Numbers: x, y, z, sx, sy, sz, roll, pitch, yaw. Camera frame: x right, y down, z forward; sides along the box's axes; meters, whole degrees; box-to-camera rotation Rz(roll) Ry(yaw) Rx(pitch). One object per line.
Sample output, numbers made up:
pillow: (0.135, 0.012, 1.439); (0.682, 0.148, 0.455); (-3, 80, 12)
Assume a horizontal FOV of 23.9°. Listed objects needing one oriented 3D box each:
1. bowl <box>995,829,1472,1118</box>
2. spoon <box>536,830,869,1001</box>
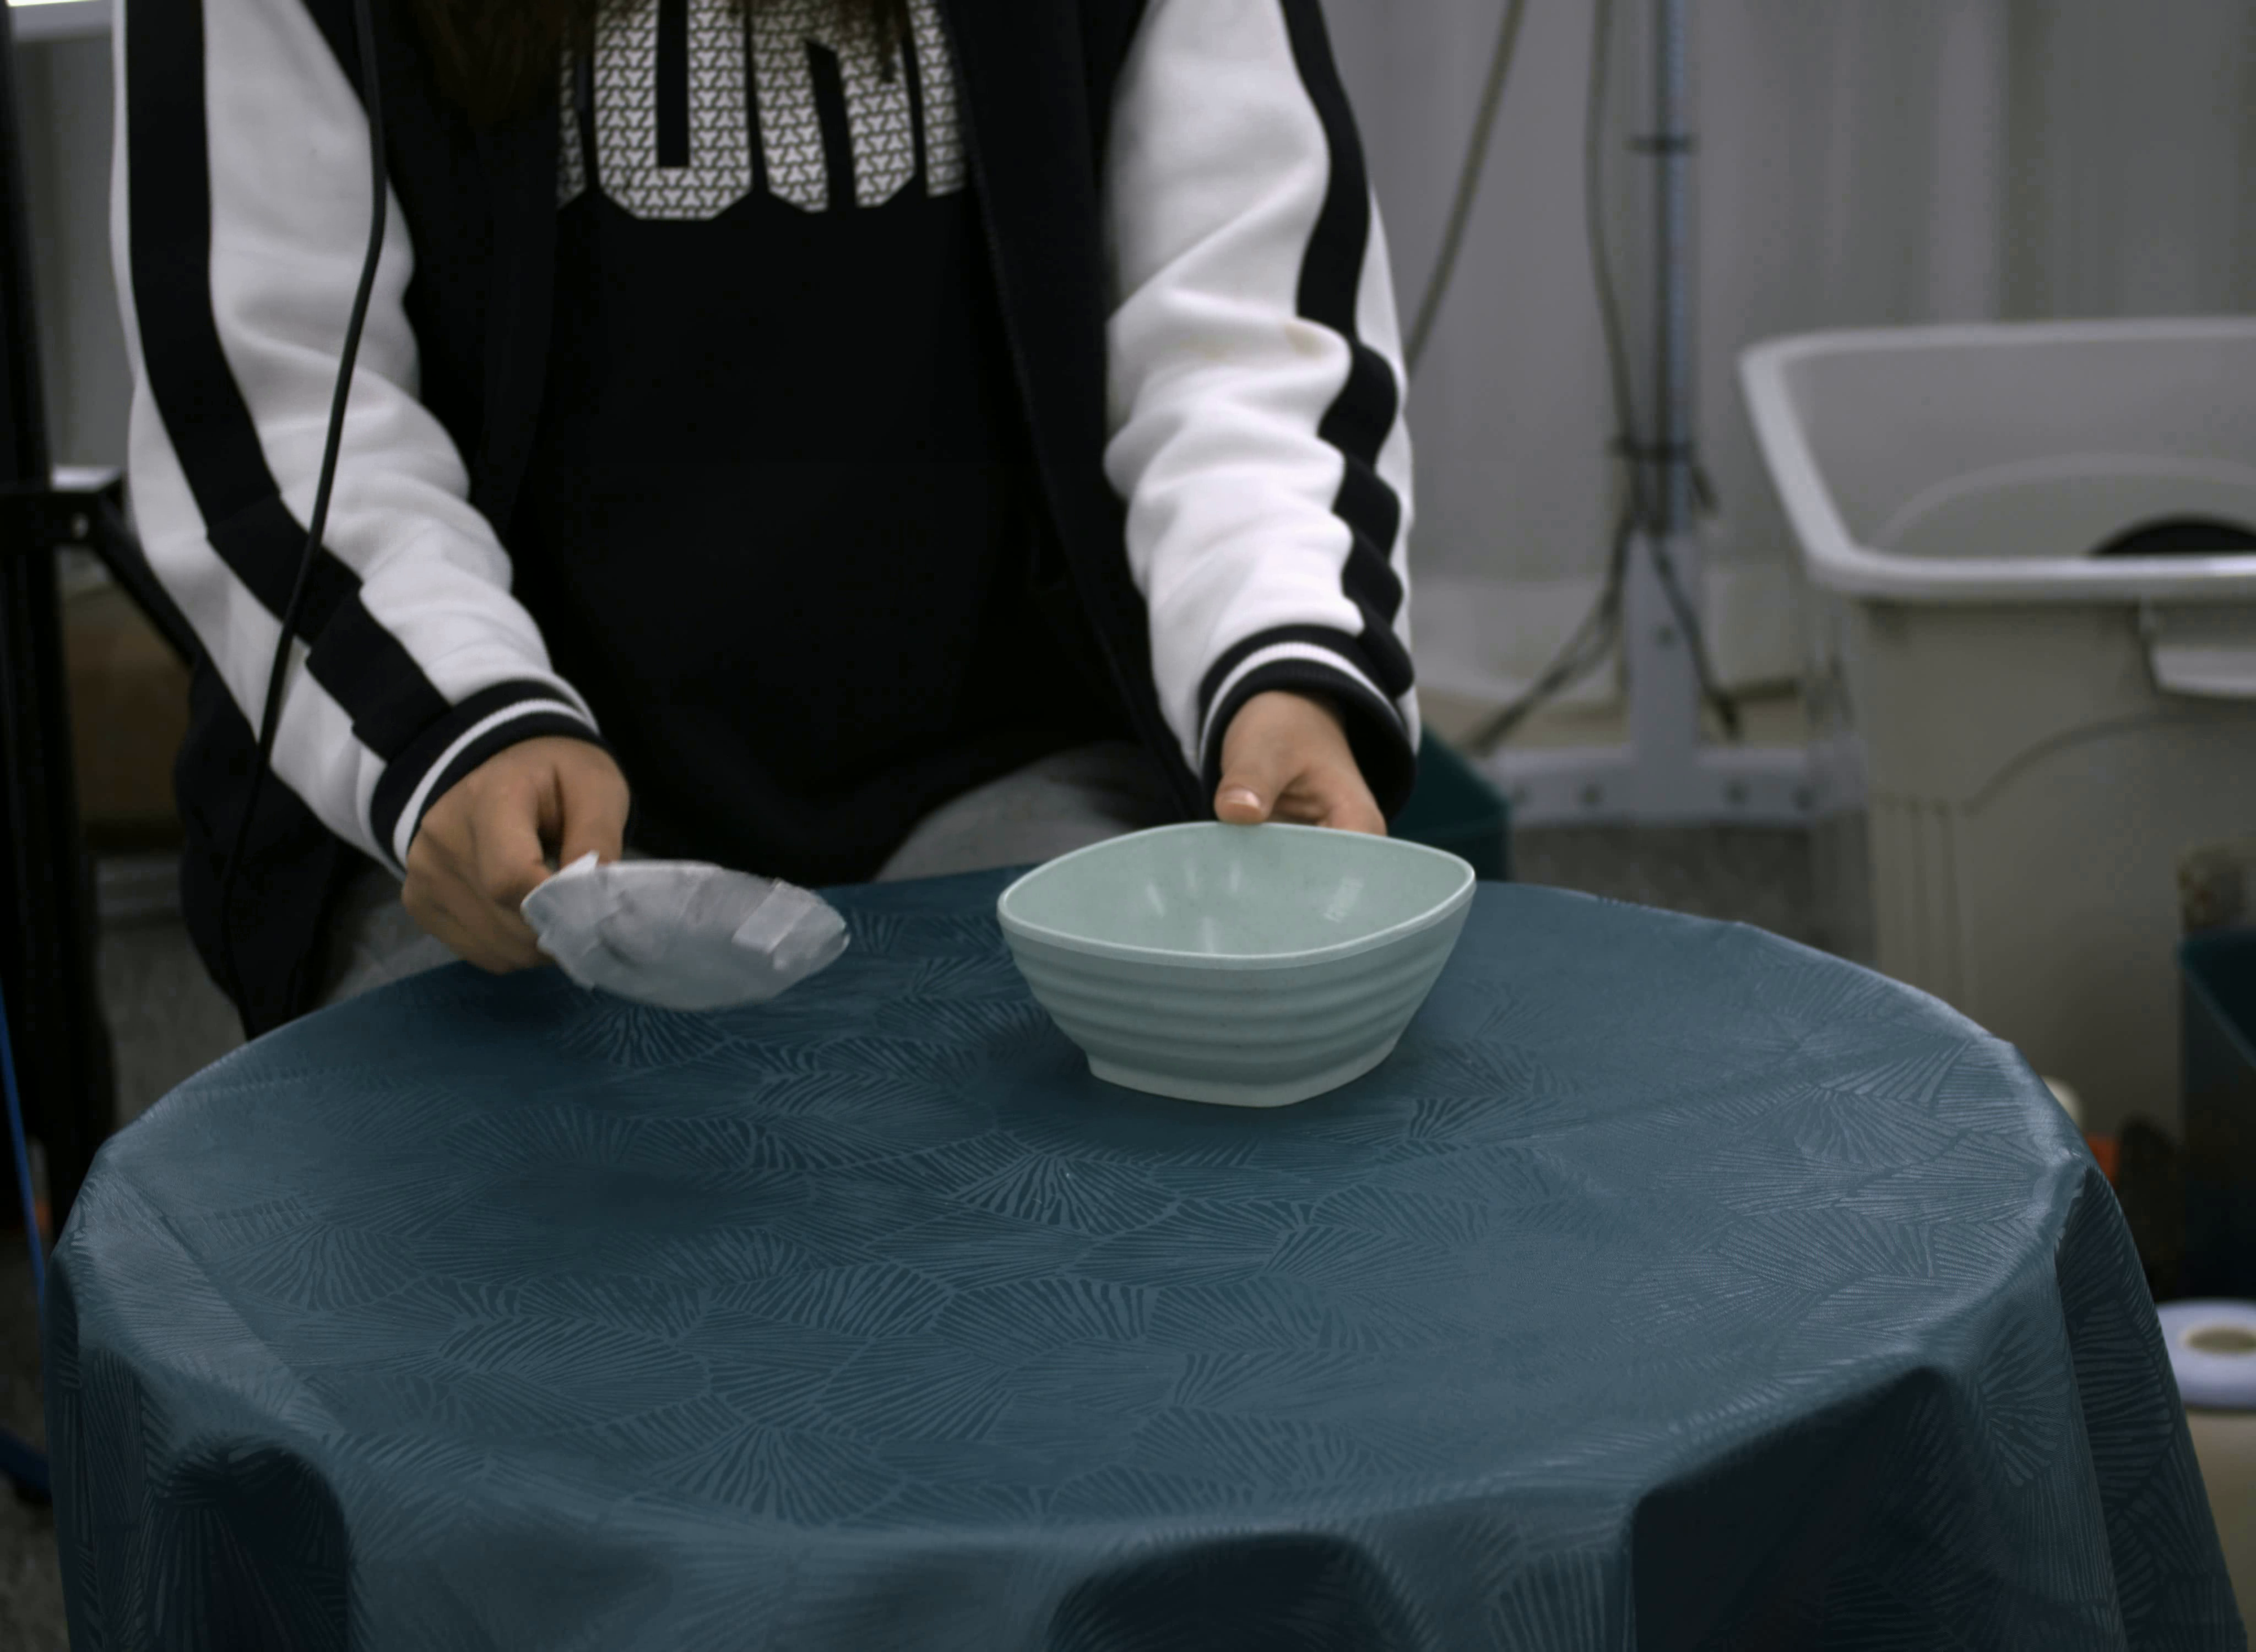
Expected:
bowl: (0.034, 0.049, 1.665); (0.150, 0.058, 0.152); (-3, 16, -1)
spoon: (-0.143, 0.008, 1.650); (0.099, 0.059, 0.280); (16, 8, -13)
